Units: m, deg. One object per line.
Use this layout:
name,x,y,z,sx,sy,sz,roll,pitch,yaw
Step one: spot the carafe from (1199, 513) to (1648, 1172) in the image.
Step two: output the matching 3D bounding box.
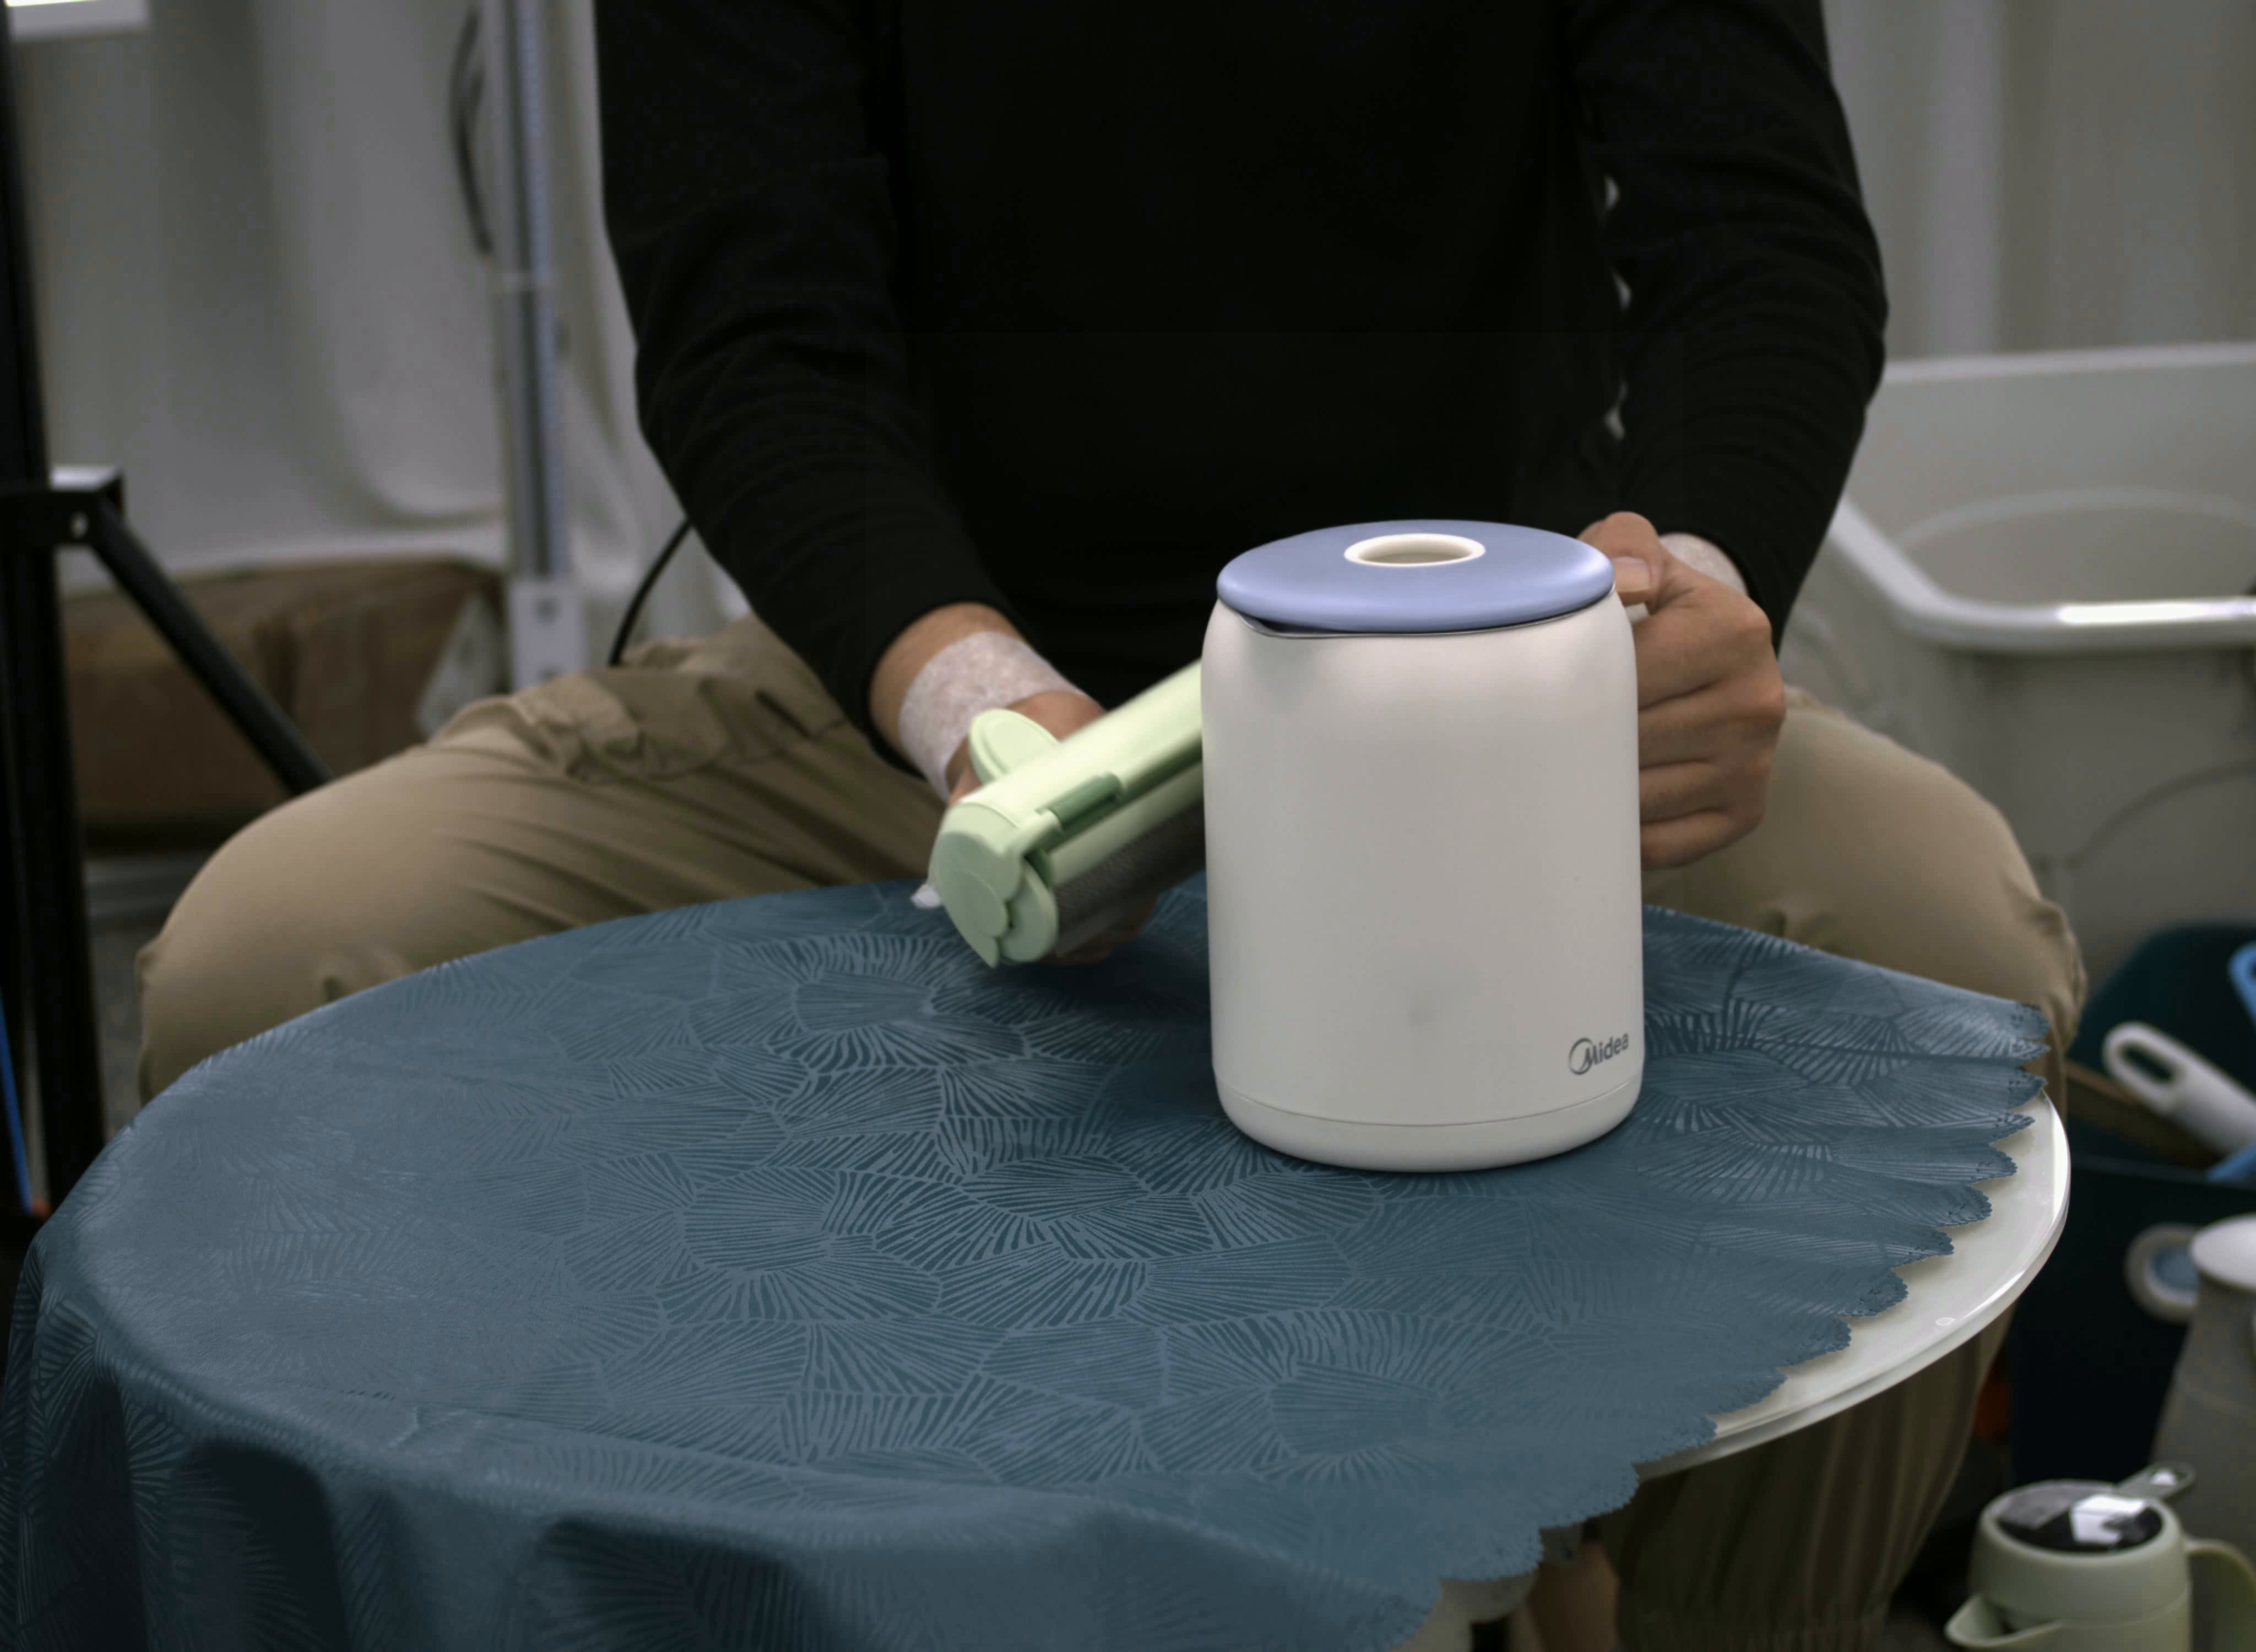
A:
carafe,0.103,-0.001,1.610,0.135,0.182,0.187,11,18,38

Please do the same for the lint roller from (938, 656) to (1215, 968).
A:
lint roller,-0.003,-0.015,1.716,0.195,0.082,0.186,-30,3,-31
